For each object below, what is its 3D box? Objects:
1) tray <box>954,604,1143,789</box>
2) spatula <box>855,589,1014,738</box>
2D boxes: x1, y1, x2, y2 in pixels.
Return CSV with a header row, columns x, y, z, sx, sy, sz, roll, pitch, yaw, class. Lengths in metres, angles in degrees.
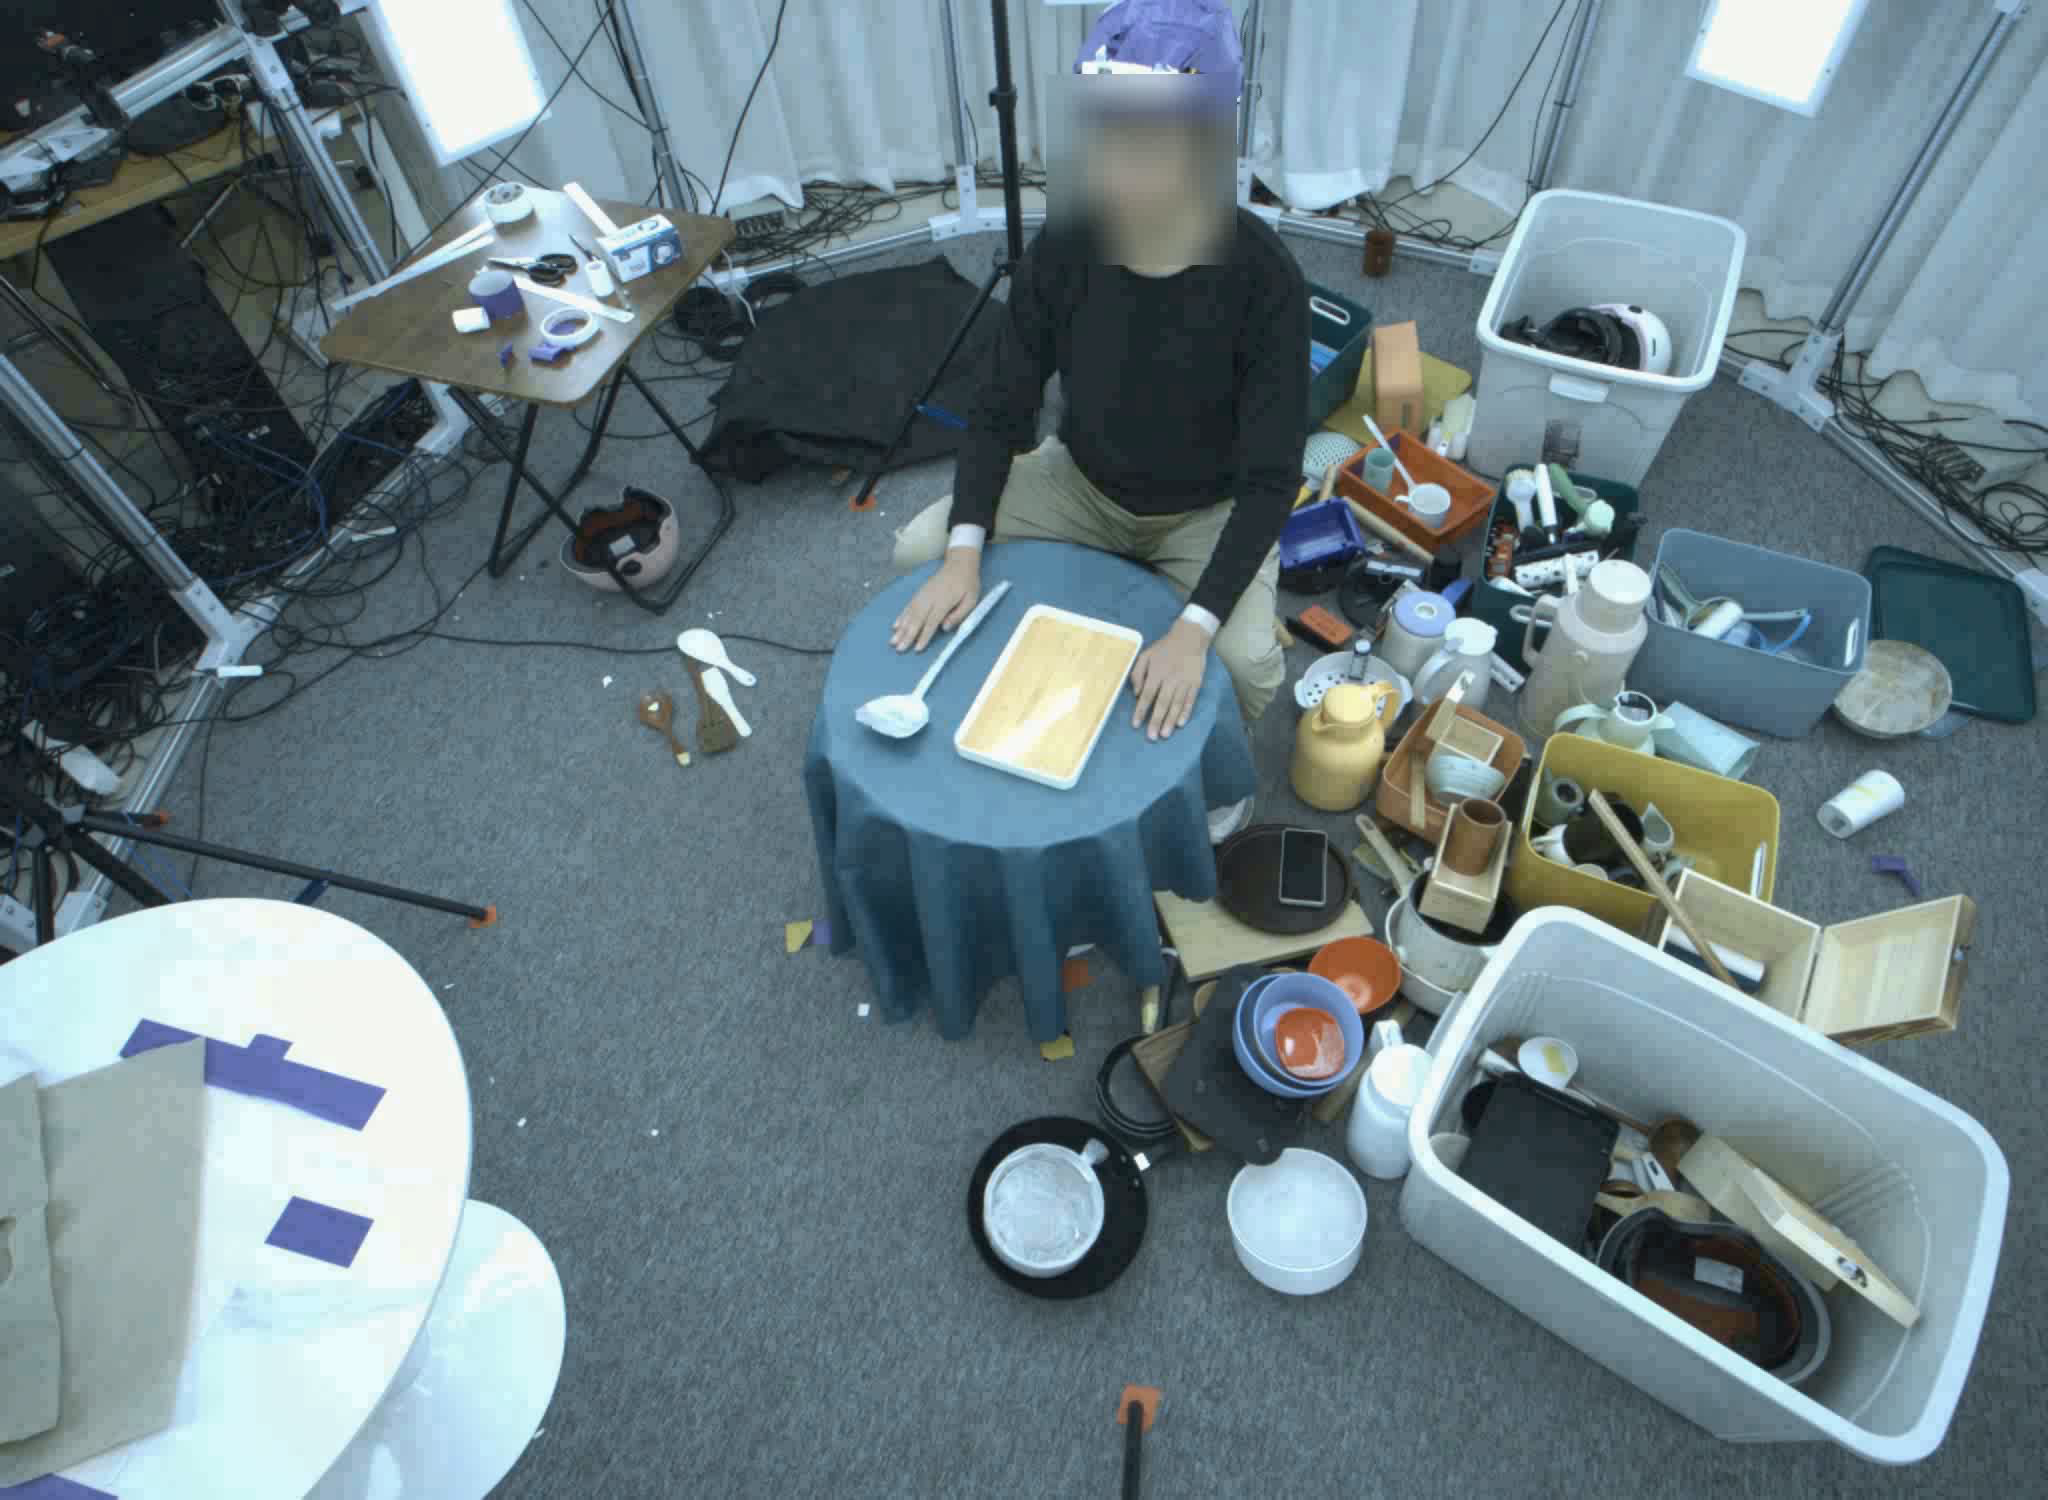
x,y,z,sx,sy,sz,roll,pitch,yaw,class
0.041,-0.086,1.830,0.189,0.028,0.300,19,57,15,tray
-0.121,-0.146,1.871,0.097,0.045,0.366,24,59,19,spatula
